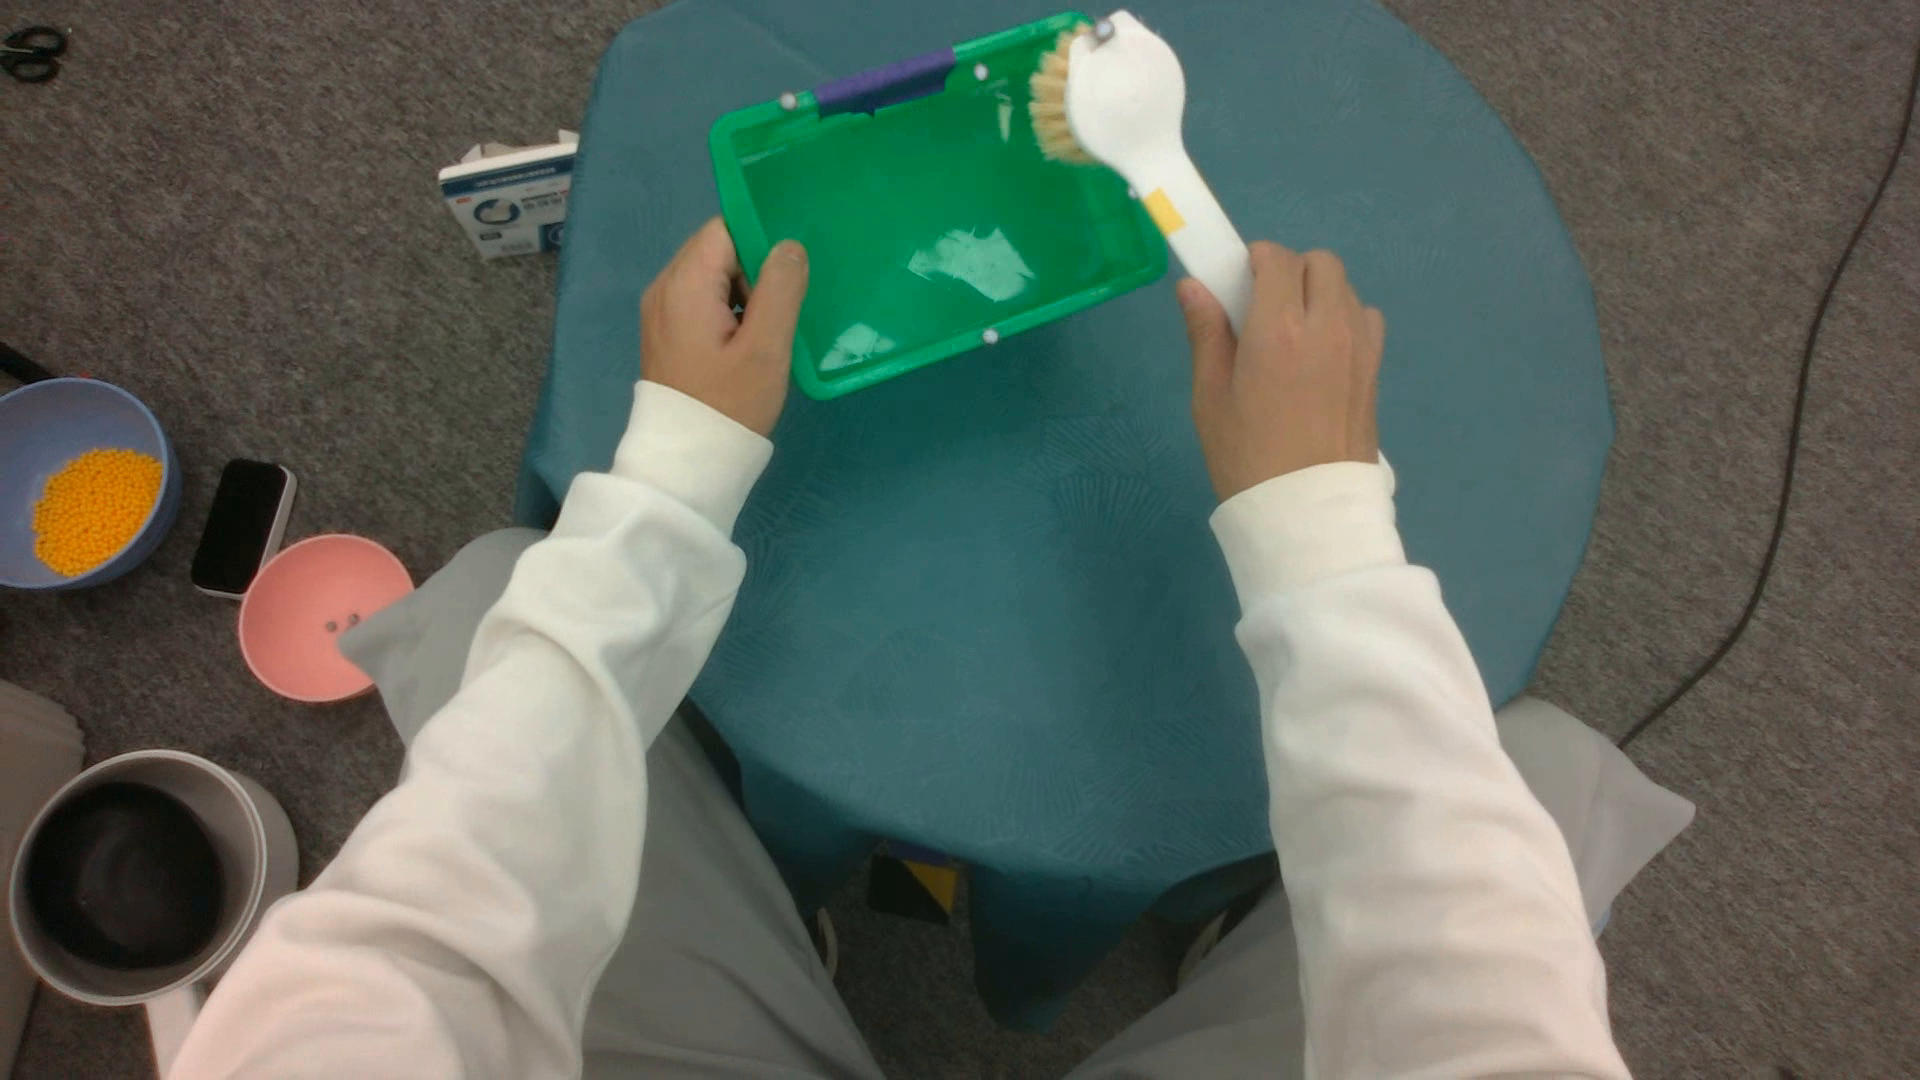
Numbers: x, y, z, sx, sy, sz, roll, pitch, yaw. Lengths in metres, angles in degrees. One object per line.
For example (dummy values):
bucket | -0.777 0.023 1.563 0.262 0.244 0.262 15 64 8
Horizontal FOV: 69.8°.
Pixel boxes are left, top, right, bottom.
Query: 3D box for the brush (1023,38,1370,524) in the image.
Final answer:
brush | 0.119 -0.122 0.673 0.068 0.056 0.266 -33 104 5

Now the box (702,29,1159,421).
box | -0.016 -0.158 0.701 0.211 0.065 0.138 -24 98 -10
